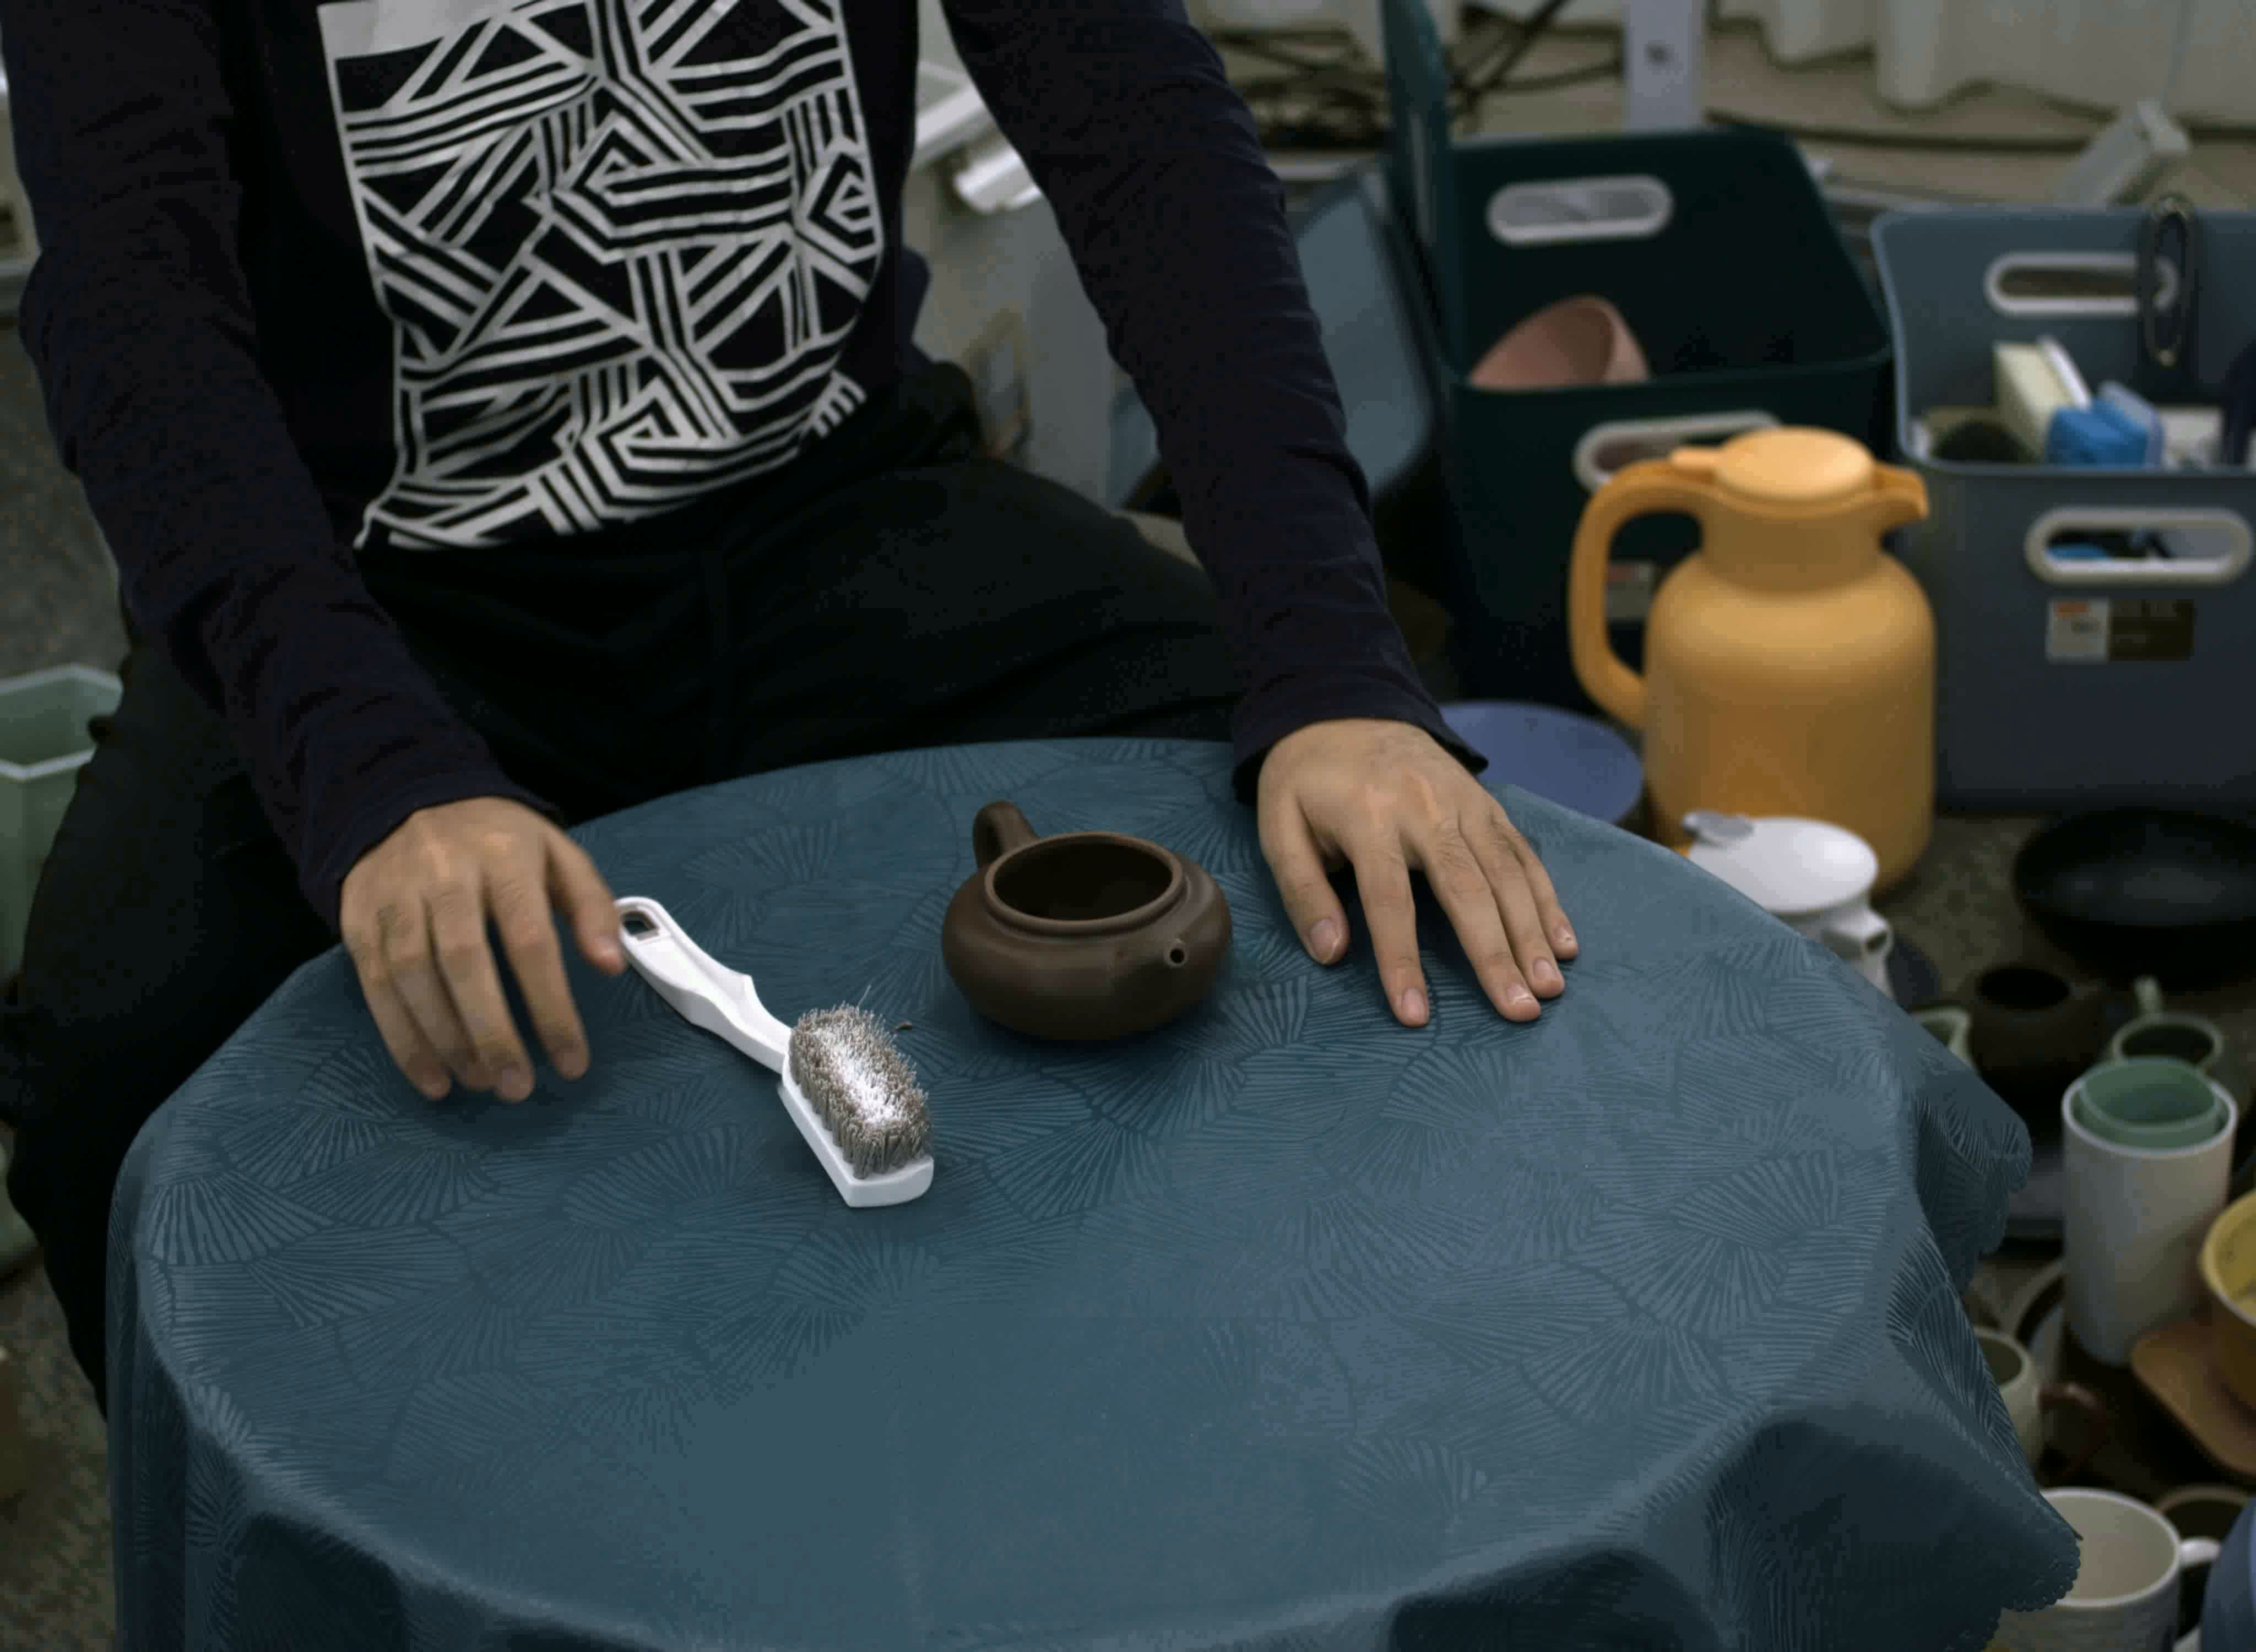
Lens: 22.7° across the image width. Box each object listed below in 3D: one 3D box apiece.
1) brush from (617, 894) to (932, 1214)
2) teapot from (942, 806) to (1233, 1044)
[{"bbox_3d":[-0.127,0.061,1.936,0.034,0.049,0.245,-17,31,-20],"label":"brush"},{"bbox_3d":[-0.017,0.036,1.969,0.103,0.053,0.154,-19,31,-28],"label":"teapot"}]
